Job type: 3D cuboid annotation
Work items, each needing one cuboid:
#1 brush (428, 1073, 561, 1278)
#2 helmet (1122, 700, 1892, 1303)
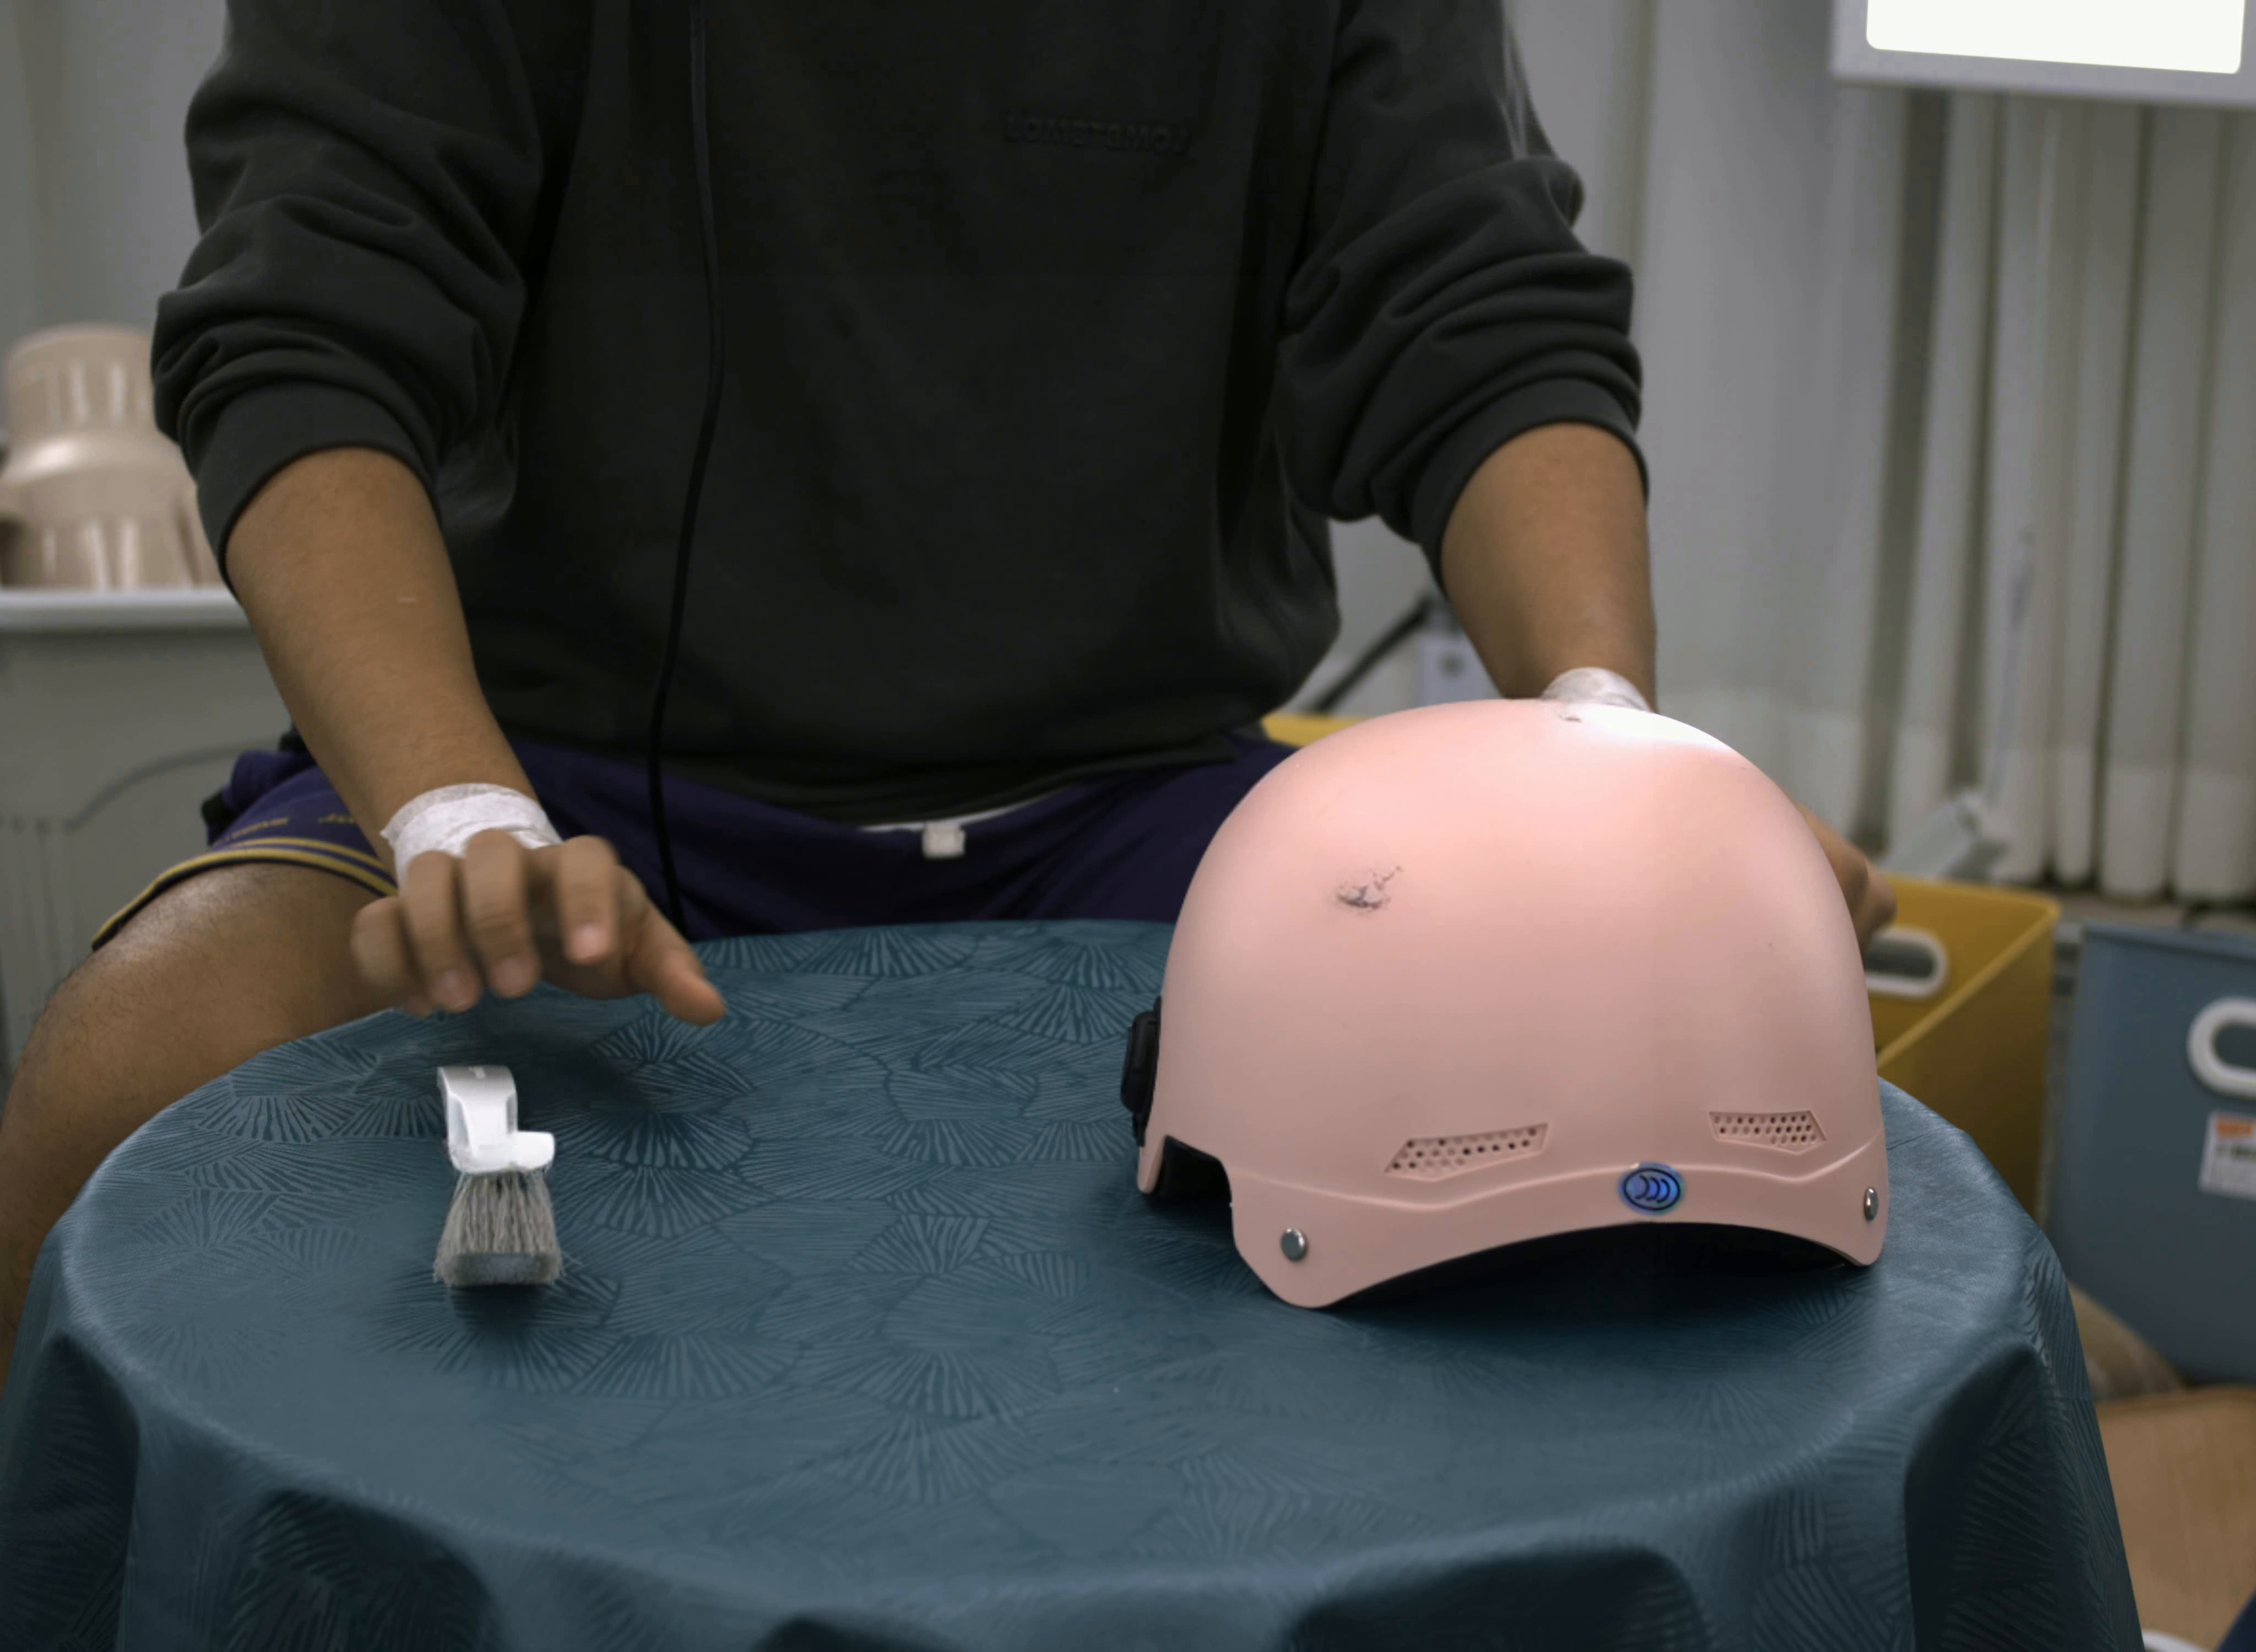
[{"bbox_3d":[-0.196,0.105,1.598,0.034,0.050,0.242,-2,2,-10],"label":"brush"},{"bbox_3d":[0.115,0.039,1.610,0.234,0.160,0.264,-4,12,-13],"label":"helmet"}]
